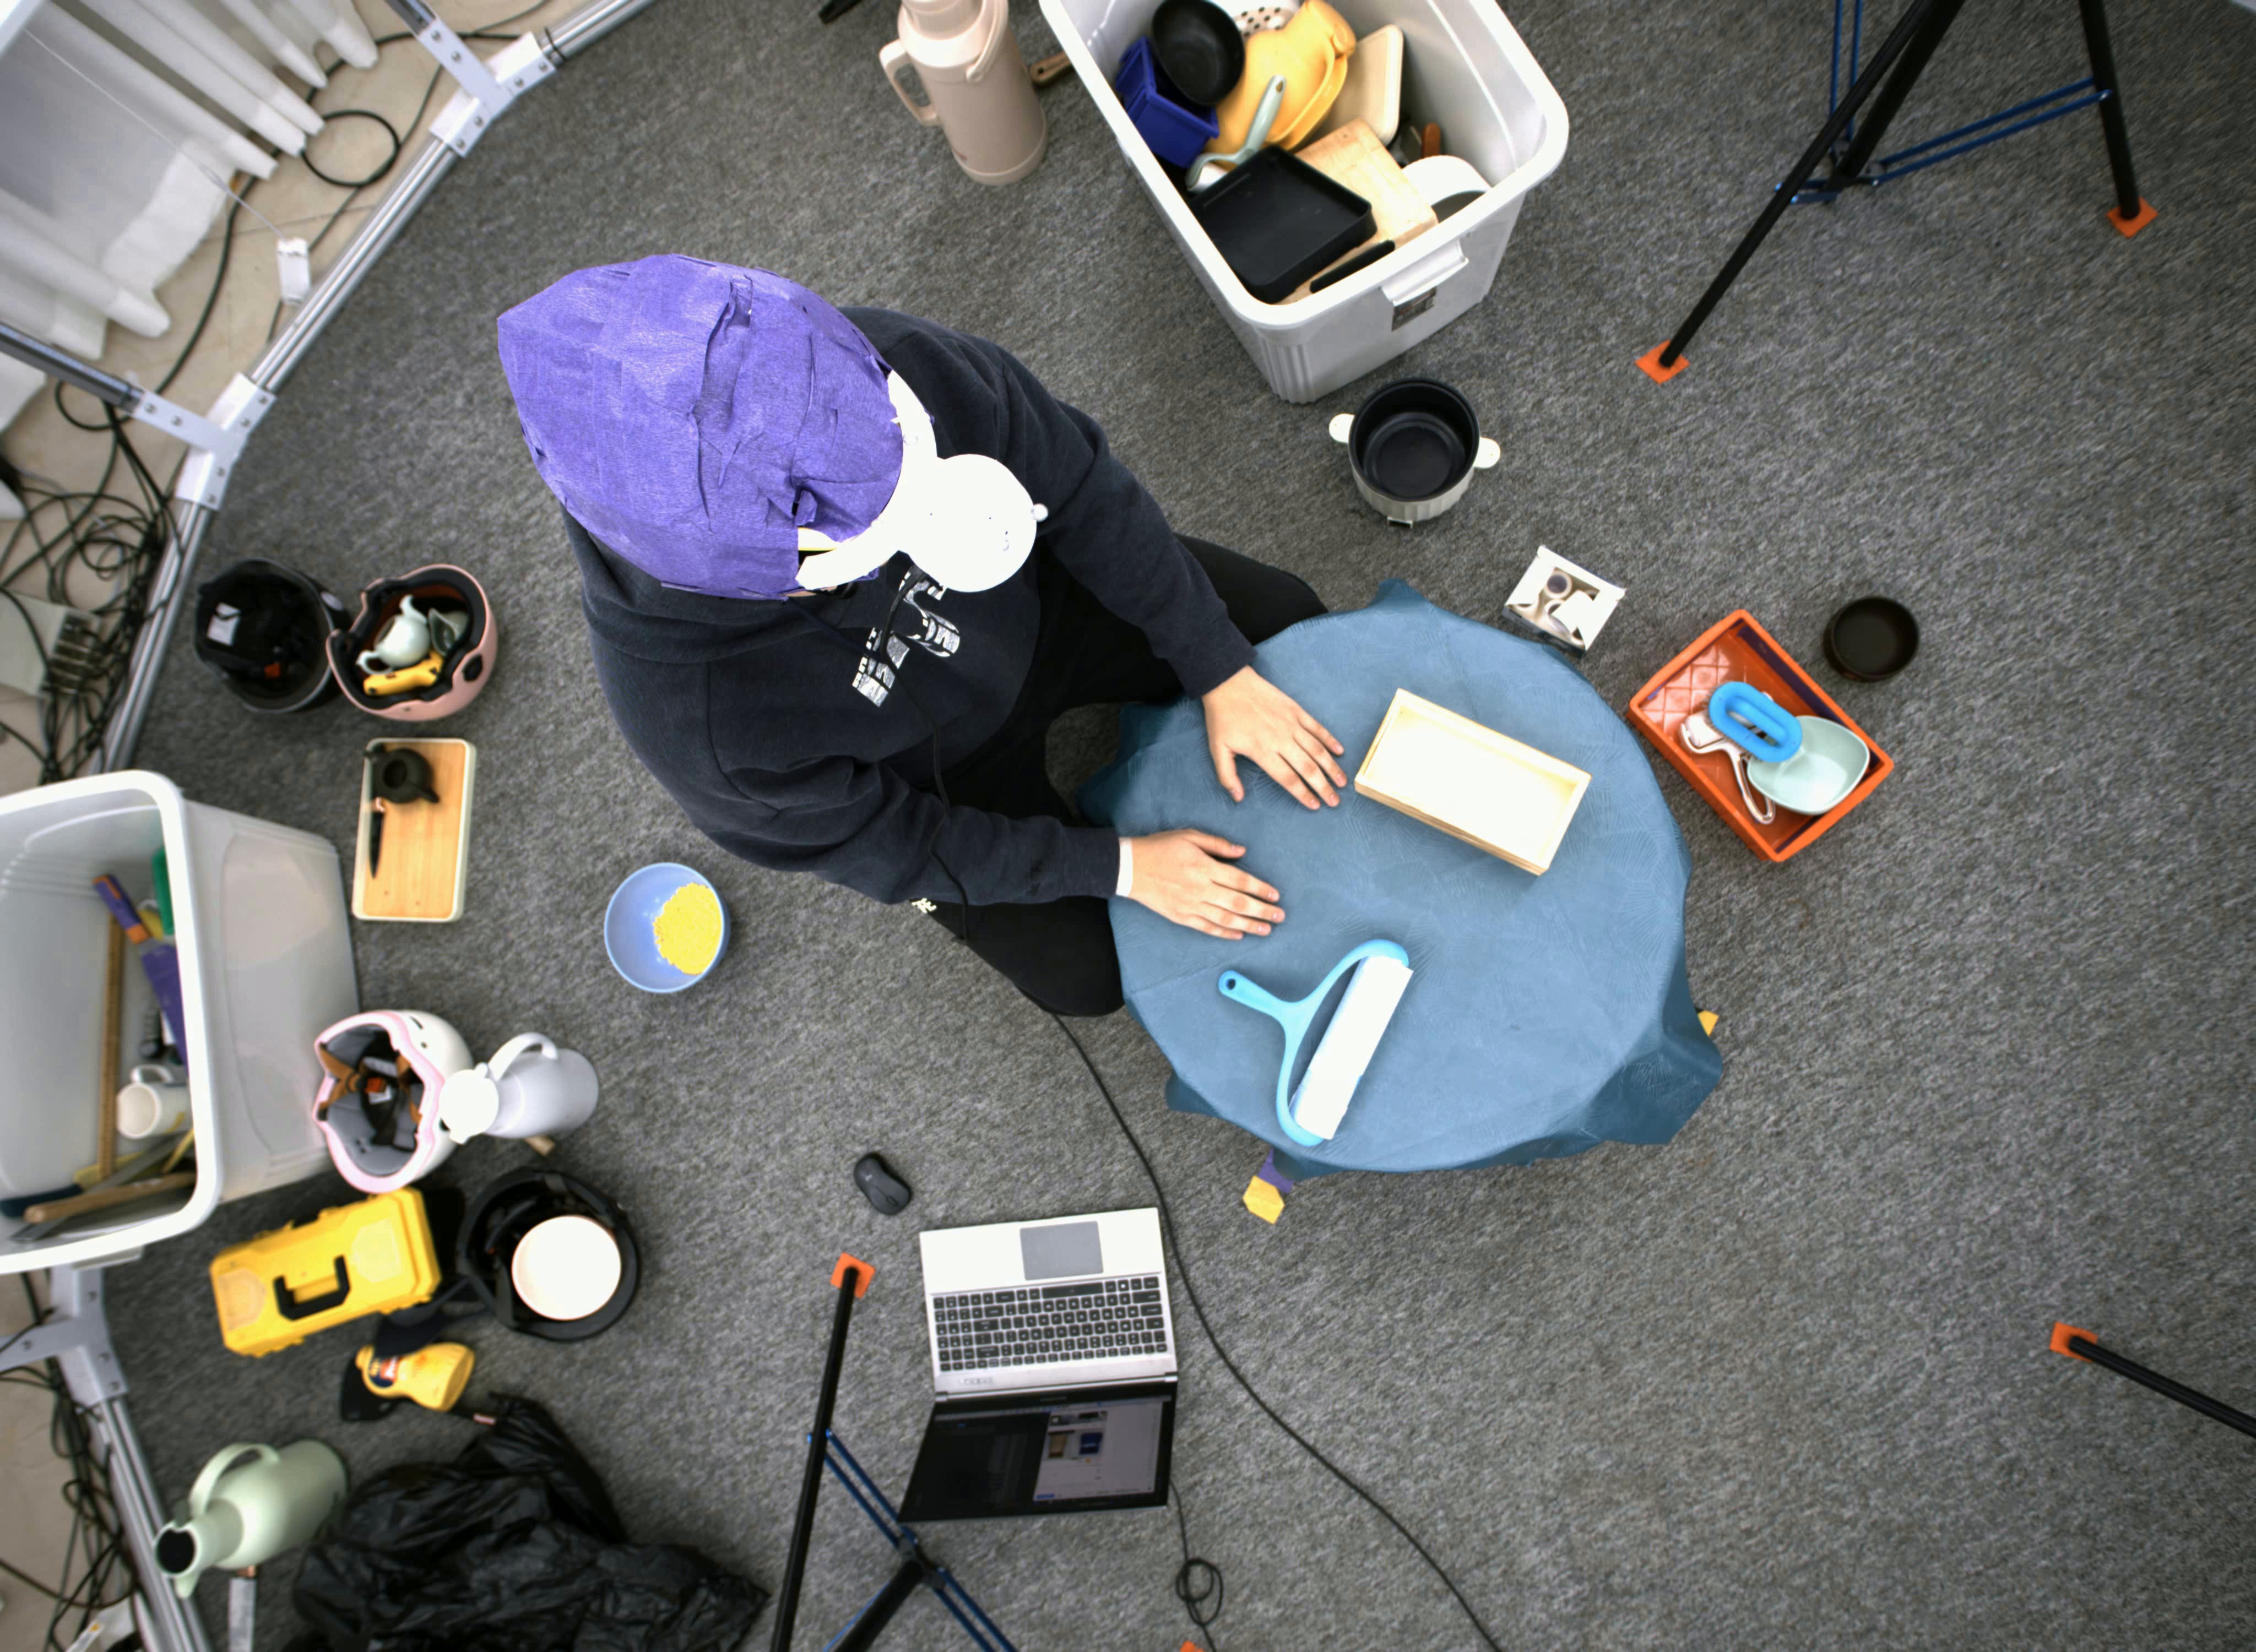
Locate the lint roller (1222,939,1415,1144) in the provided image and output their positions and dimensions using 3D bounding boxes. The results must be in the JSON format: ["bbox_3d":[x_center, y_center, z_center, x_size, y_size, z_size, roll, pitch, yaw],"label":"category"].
[{"bbox_3d":[0.177,0.199,1.441,0.180,0.068,0.229,24,93,10],"label":"lint roller"}]

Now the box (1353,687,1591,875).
[{"bbox_3d":[0.350,-0.047,1.412,0.211,0.080,0.107,25,90,11],"label":"box"}]
